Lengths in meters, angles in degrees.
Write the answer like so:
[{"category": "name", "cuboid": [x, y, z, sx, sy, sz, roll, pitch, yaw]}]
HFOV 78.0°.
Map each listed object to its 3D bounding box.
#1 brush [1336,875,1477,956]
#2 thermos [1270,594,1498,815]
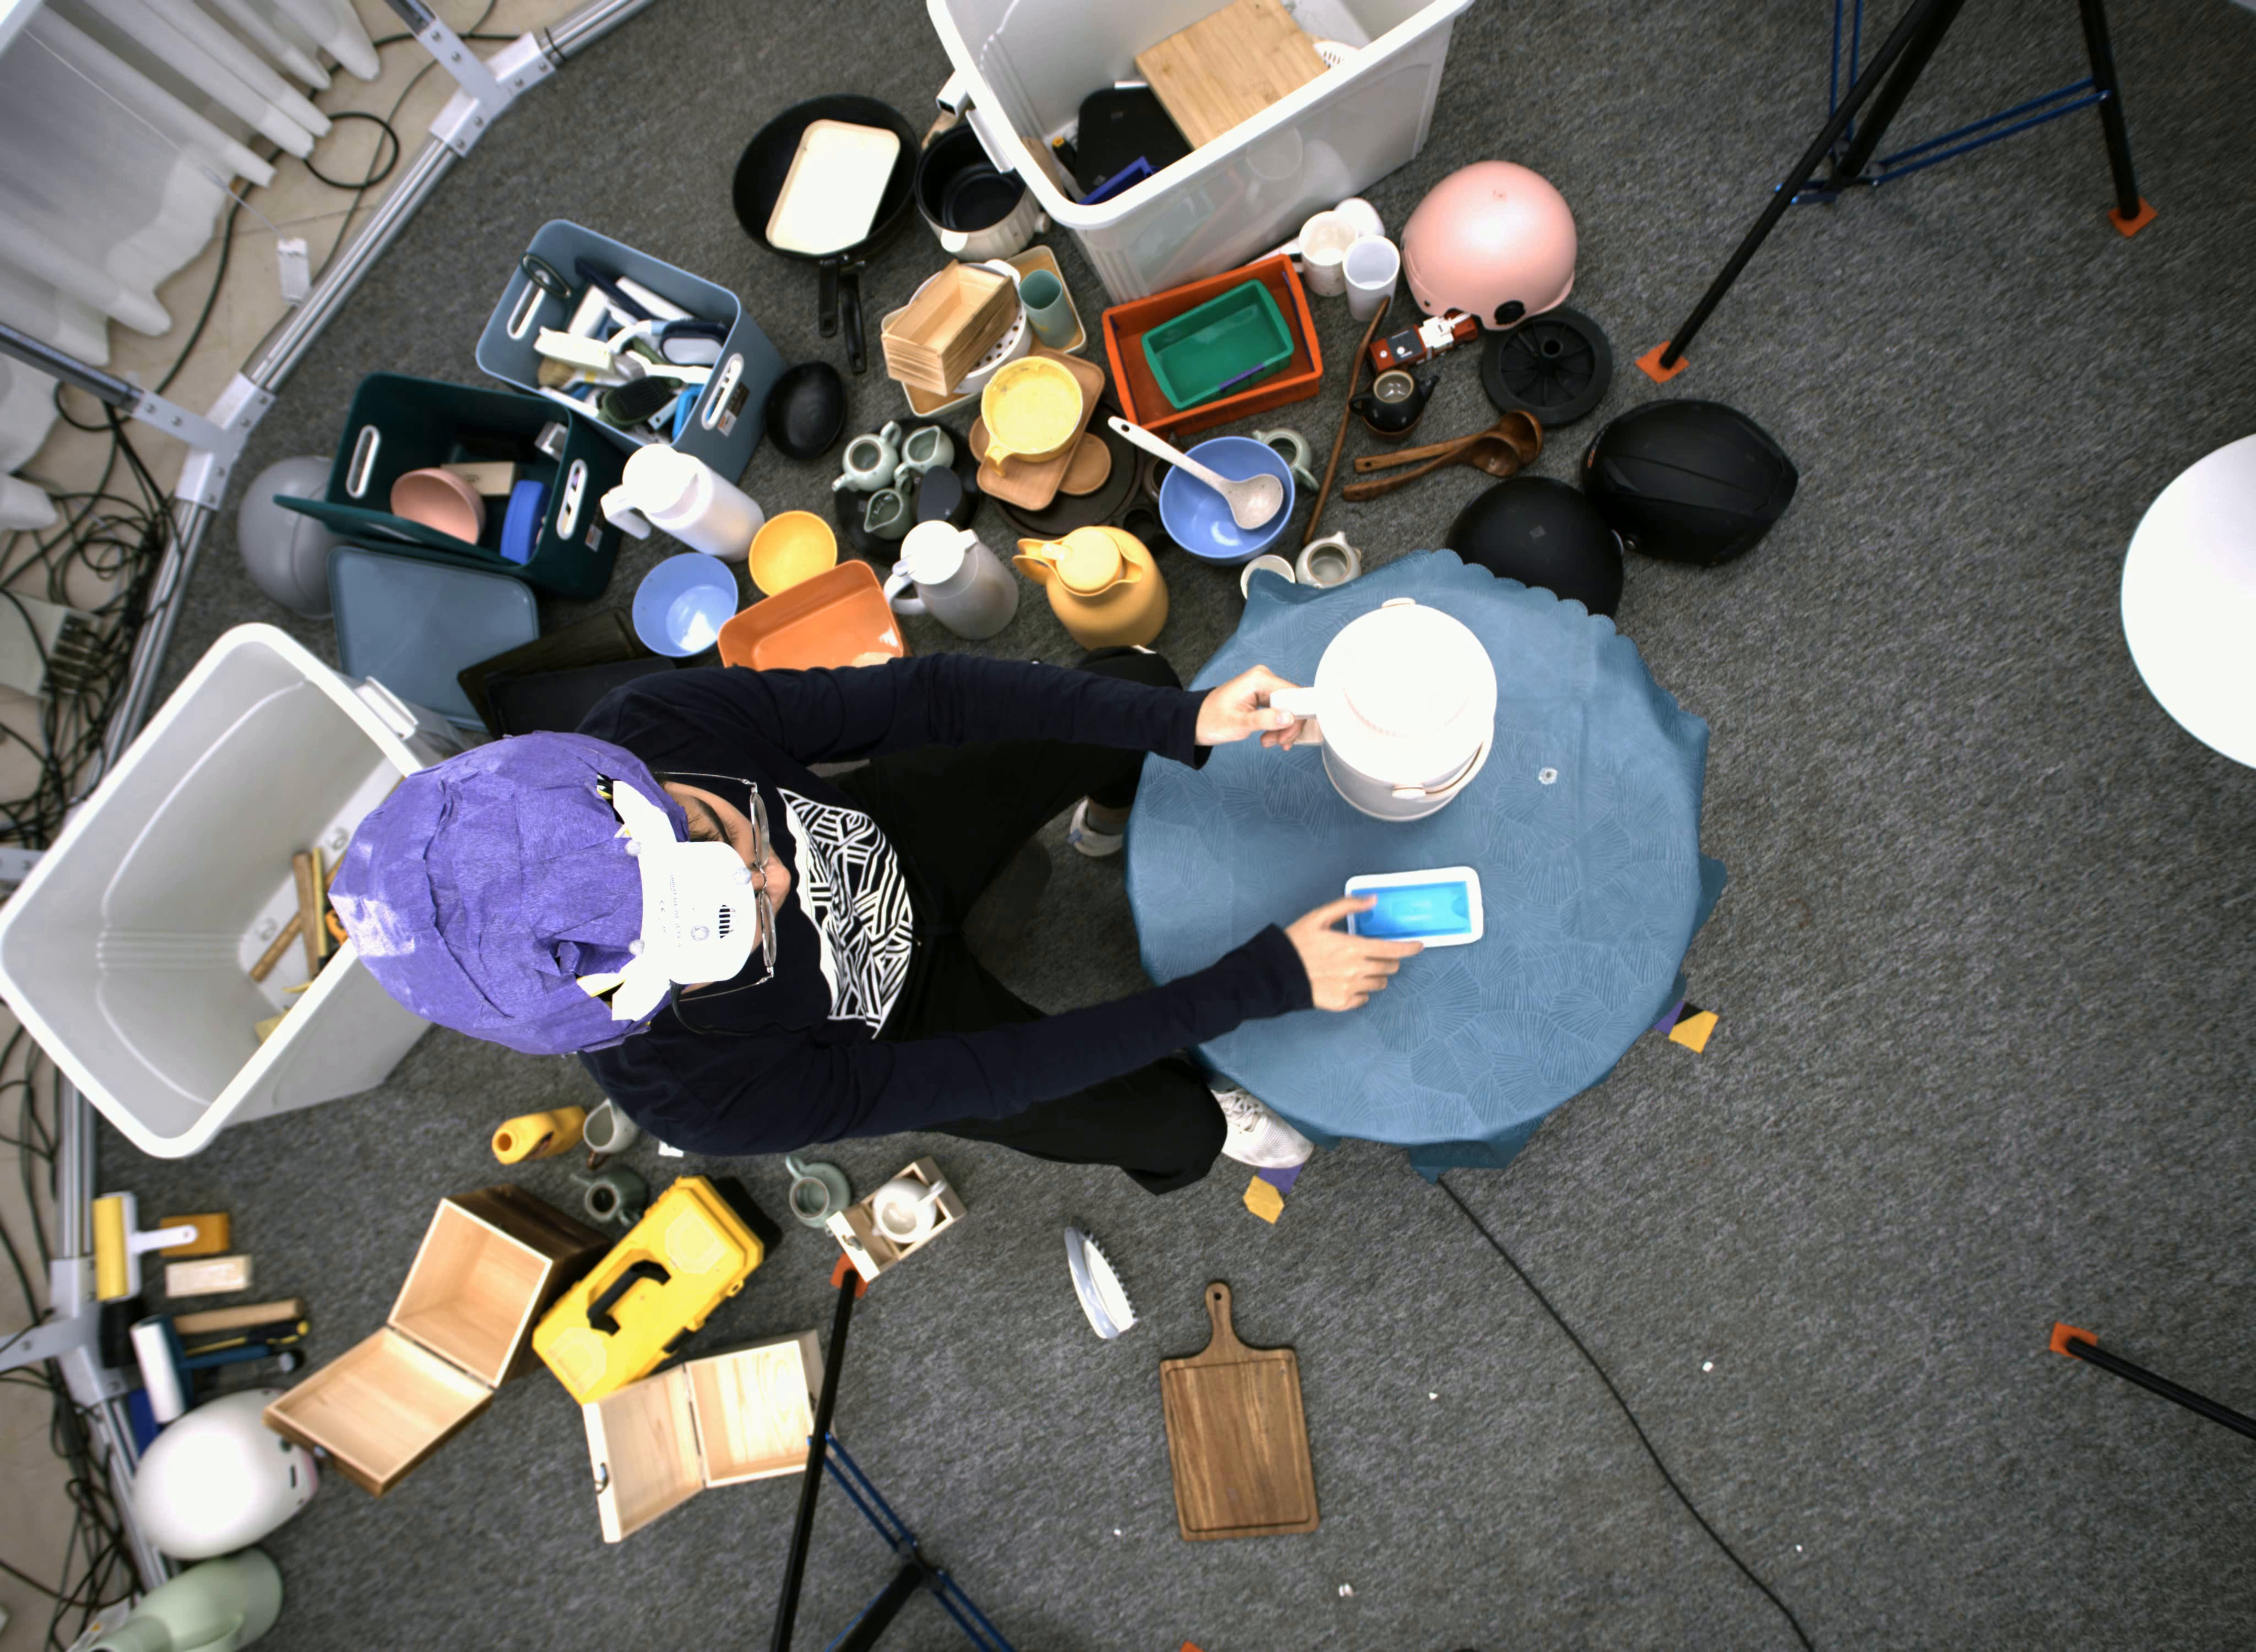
[{"category": "brush", "cuboid": [0.288, 0.087, 1.423, 0.144, 0.056, 0.083, -4, 82, 6]}, {"category": "thermos", "cuboid": [0.241, -0.109, 1.272, 0.208, 0.406, 0.174, -4, 86, 11]}]
